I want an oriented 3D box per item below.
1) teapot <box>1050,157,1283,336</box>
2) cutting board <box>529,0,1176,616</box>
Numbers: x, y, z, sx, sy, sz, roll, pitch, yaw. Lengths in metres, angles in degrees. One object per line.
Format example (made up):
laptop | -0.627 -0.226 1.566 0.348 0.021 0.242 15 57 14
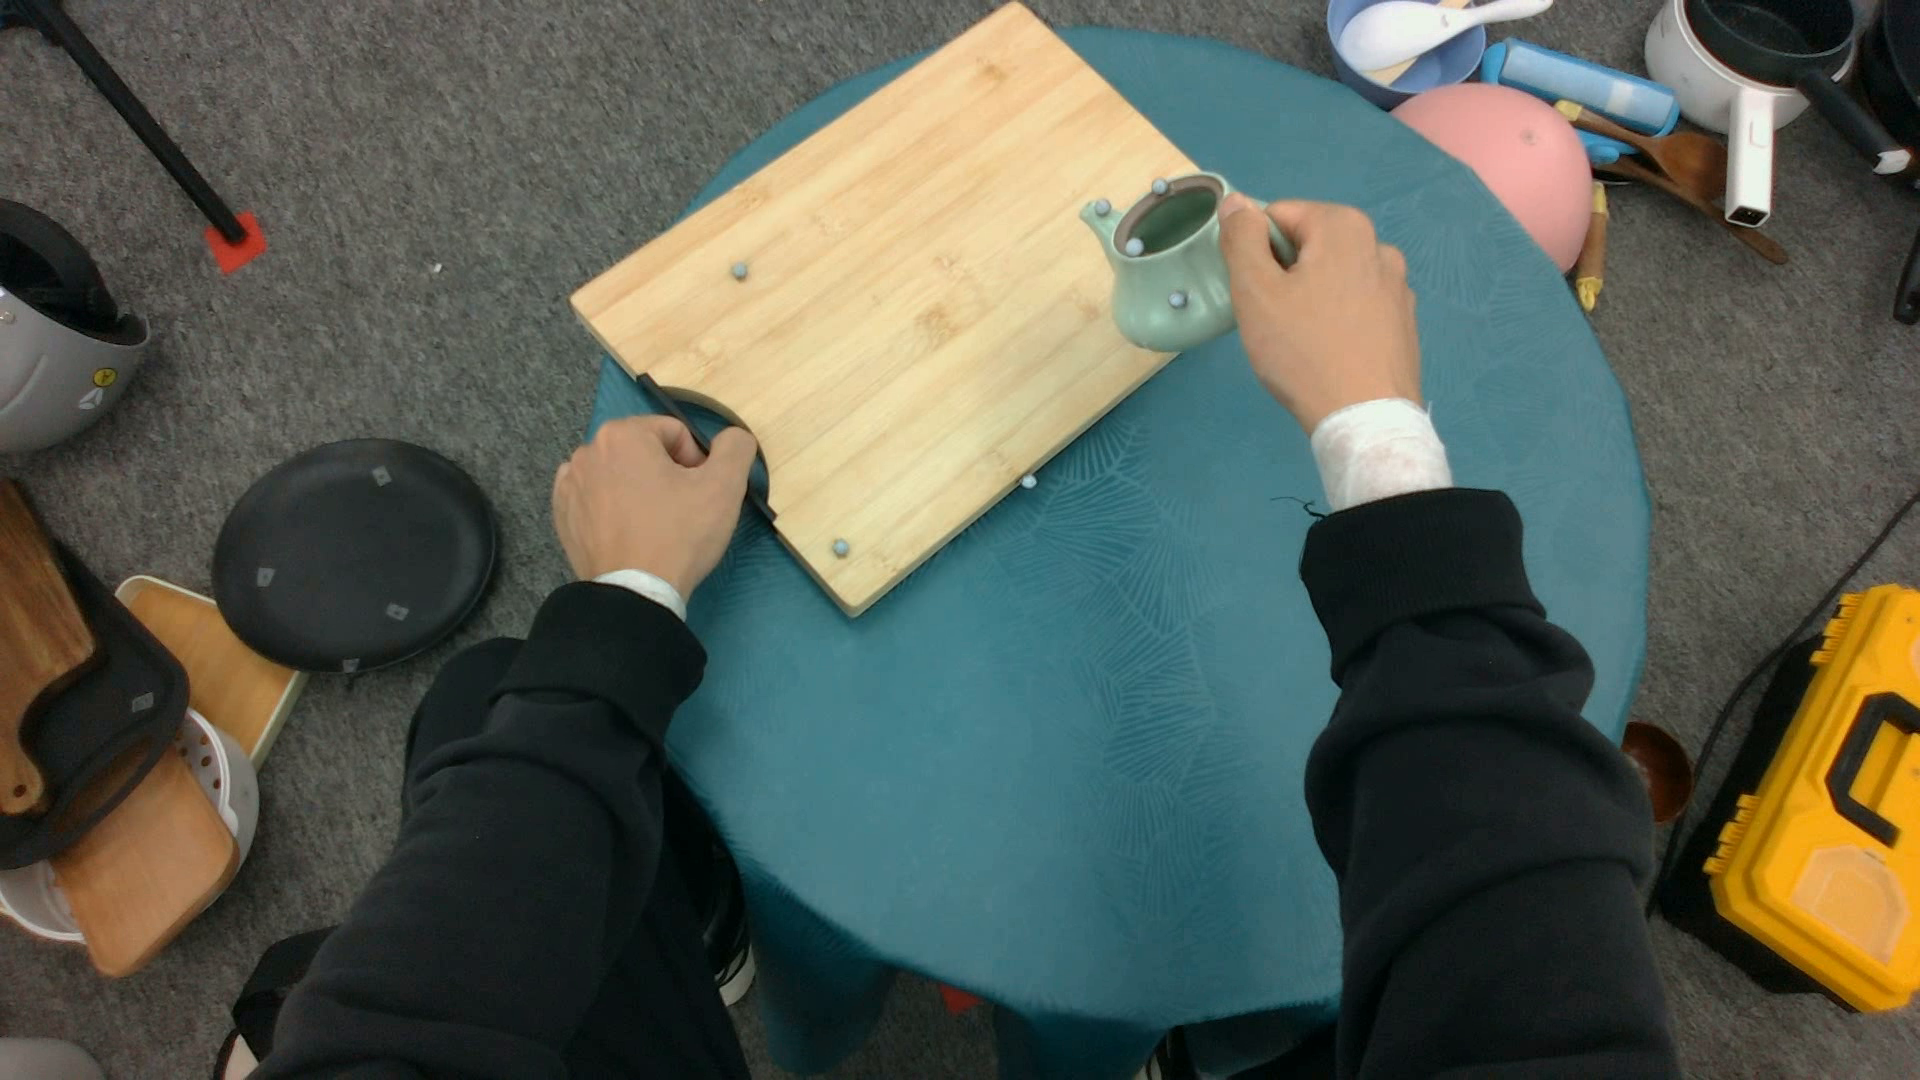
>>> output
teapot | 0.105 -0.146 0.674 0.137 0.061 0.096 17 63 51
cutting board | -0.029 -0.151 0.791 0.350 0.023 0.251 -41 77 -19
